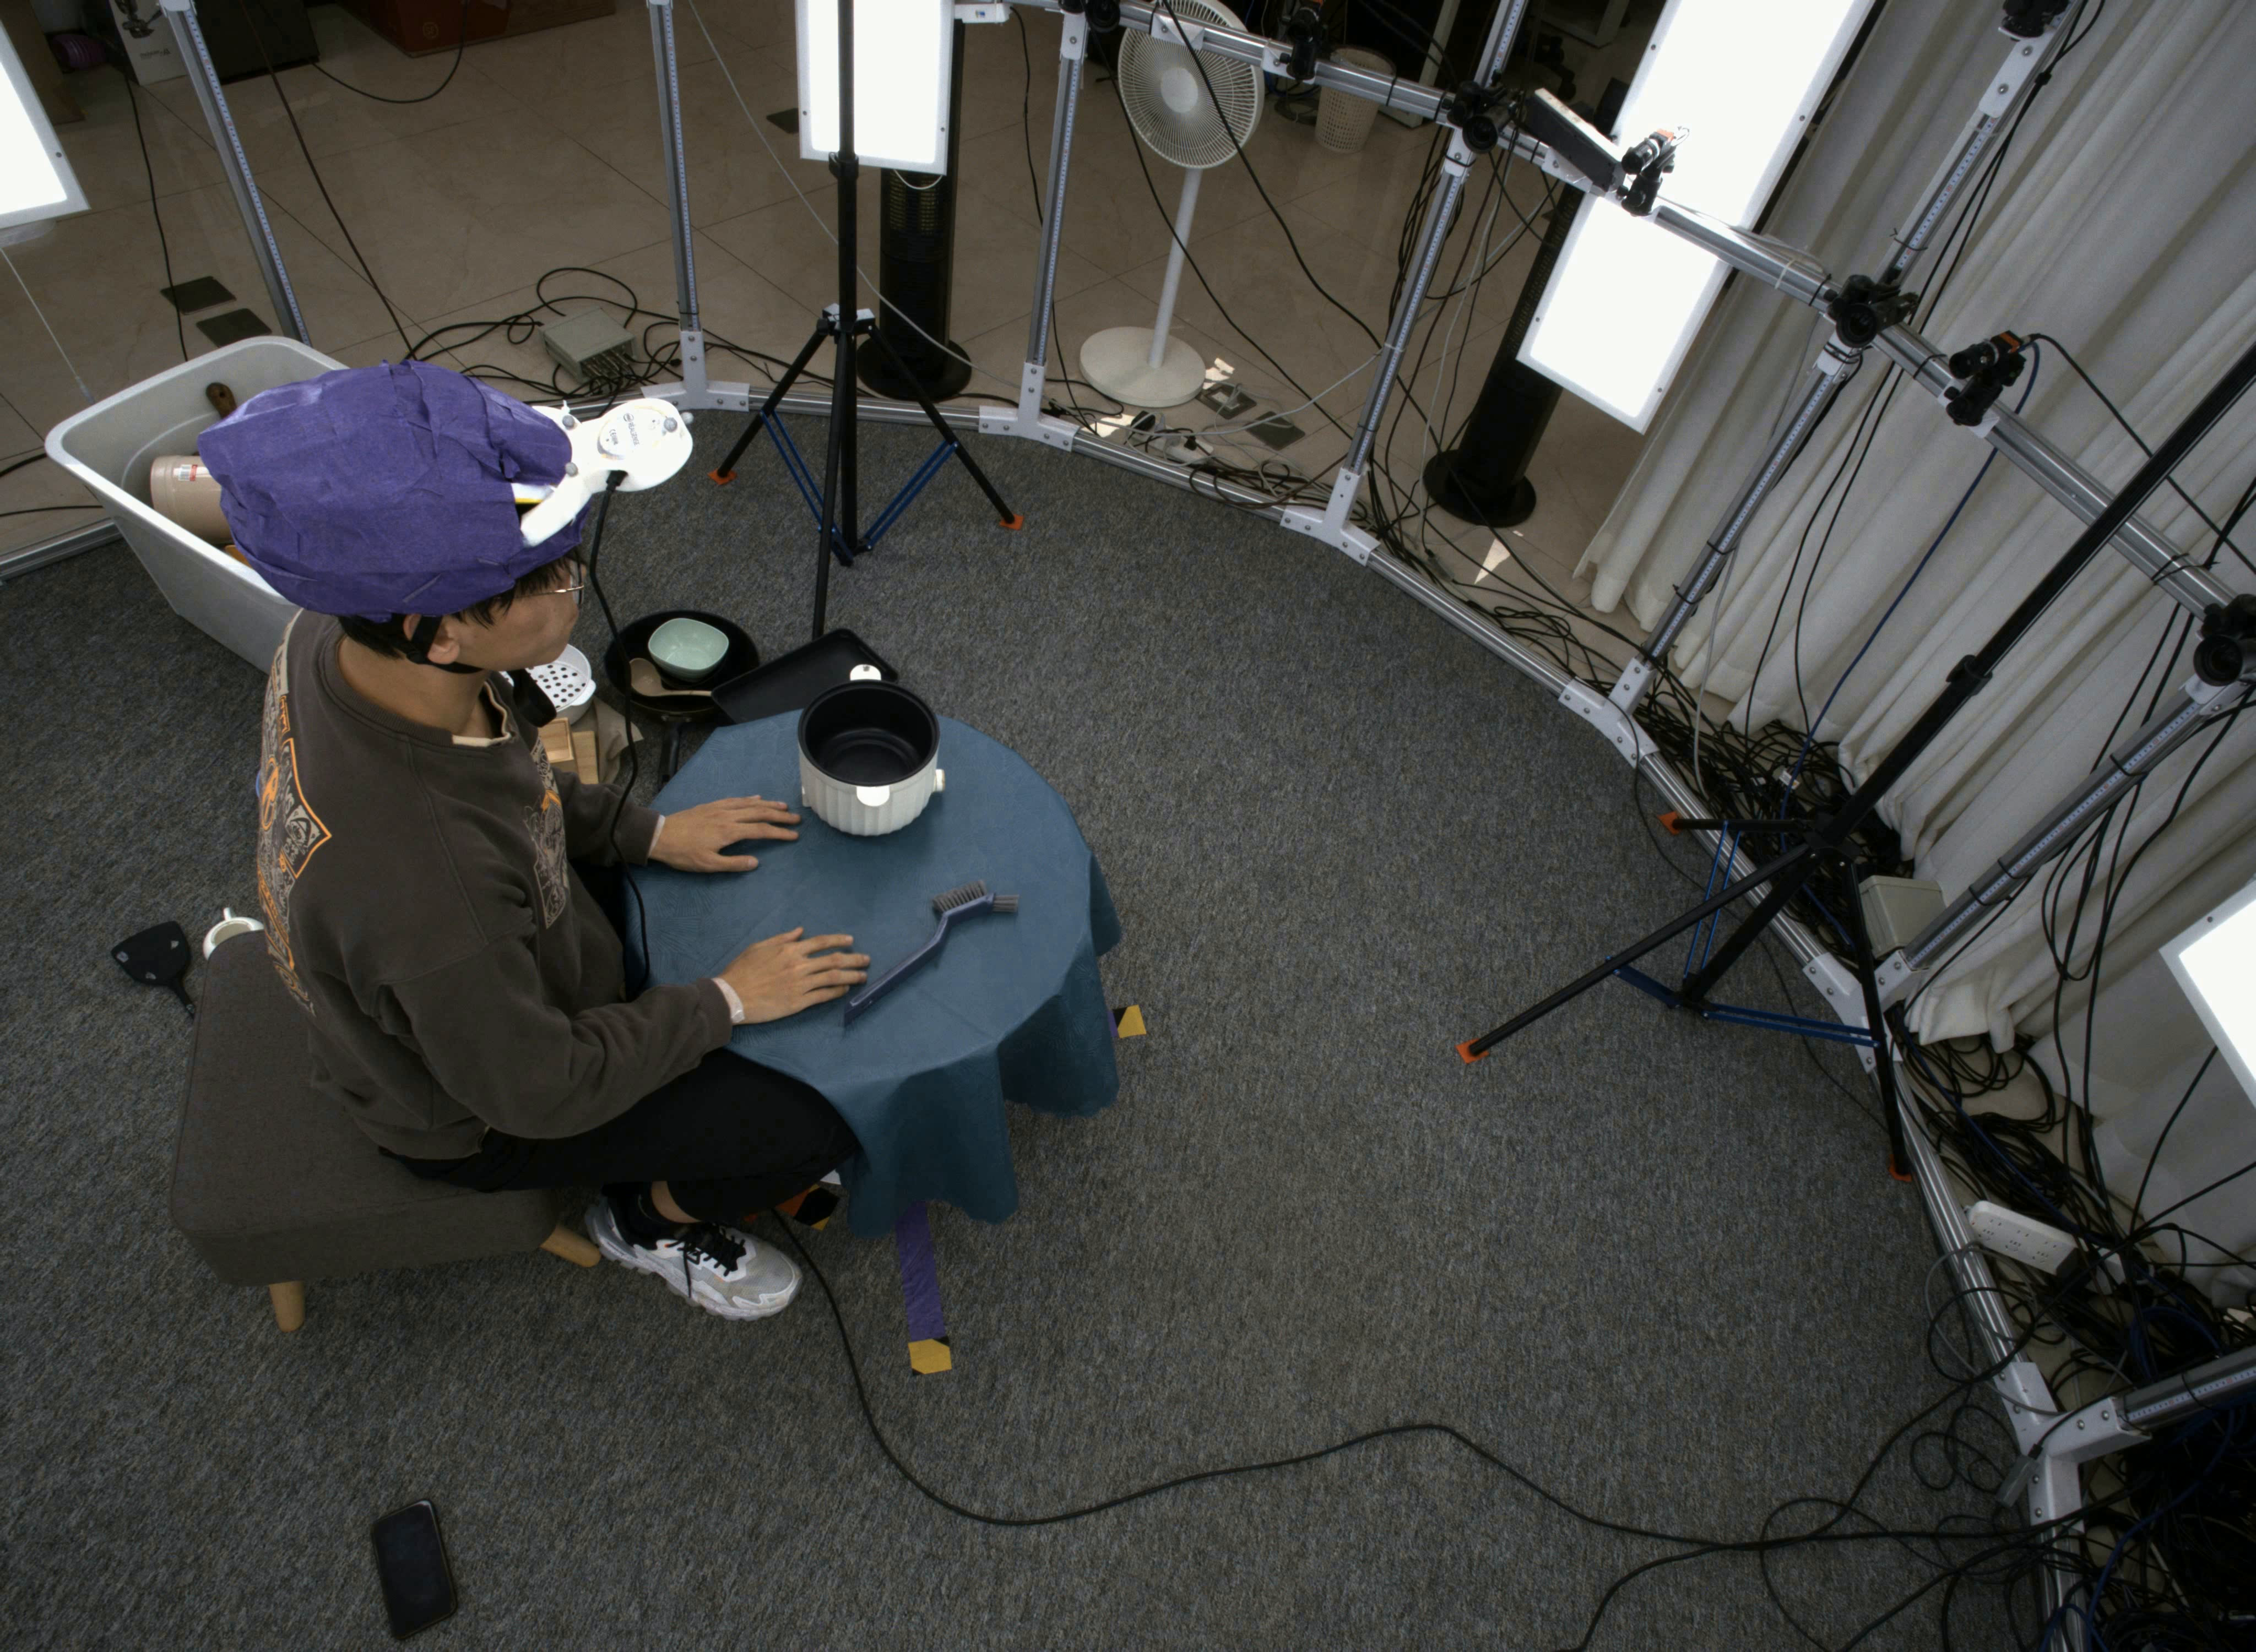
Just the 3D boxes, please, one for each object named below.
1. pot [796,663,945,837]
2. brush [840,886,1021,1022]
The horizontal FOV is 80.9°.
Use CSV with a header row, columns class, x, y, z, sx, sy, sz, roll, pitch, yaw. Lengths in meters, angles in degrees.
class,x,y,z,sx,sy,sz,roll,pitch,yaw
pot,-0.340,-0.086,1.732,0.190,0.146,0.235,-5,56,-12
brush,-0.250,0.162,1.642,0.094,0.034,0.273,34,53,12
